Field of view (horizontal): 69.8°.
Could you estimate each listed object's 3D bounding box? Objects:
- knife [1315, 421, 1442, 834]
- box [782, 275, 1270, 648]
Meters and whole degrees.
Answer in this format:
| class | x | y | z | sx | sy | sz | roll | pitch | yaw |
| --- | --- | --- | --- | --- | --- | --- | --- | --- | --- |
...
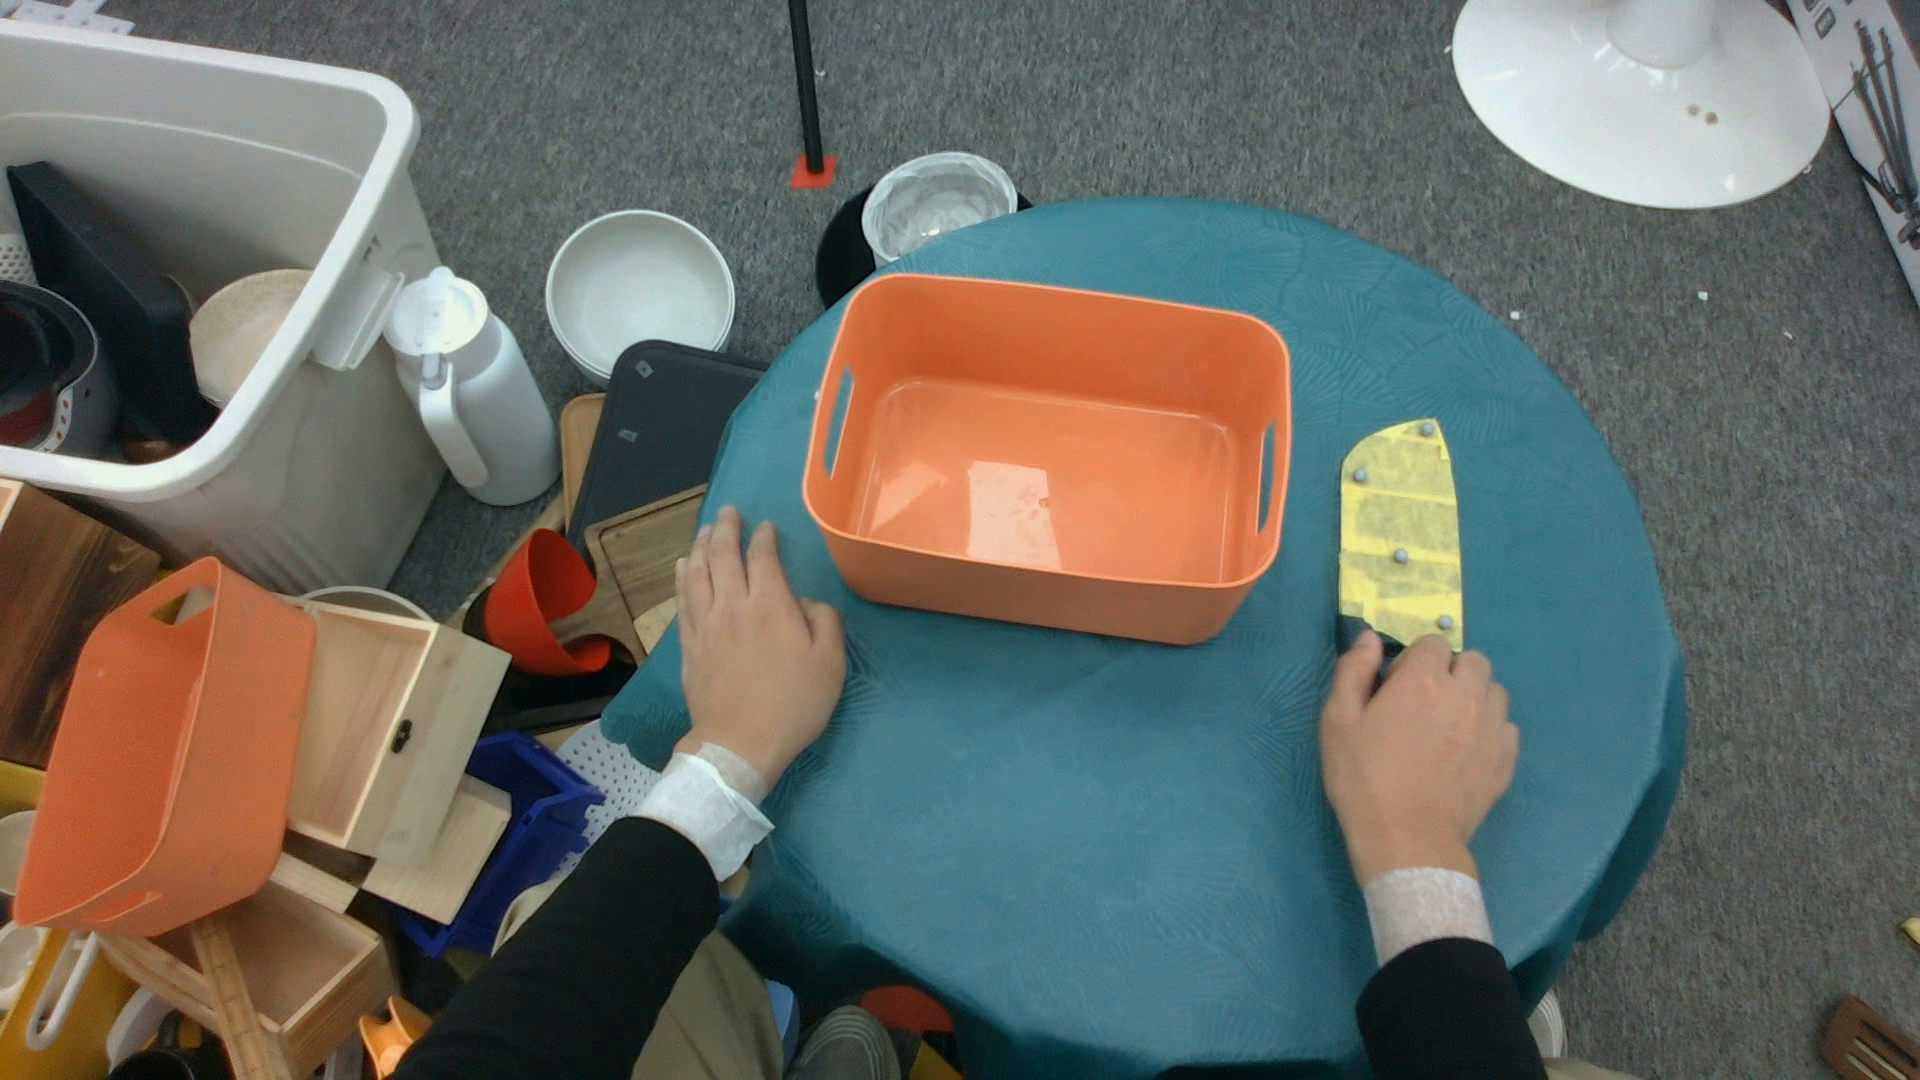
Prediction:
| class | x | y | z | sx | sy | sz | roll | pitch | yaw |
| --- | --- | --- | --- | --- | --- | --- | --- | --- | --- |
| knife | 0.252 | 0.043 | 0.838 | 0.081 | 0.027 | 0.291 | 10 | 60 | 8 |
| box | 0.041 | -0.043 | 0.833 | 0.273 | 0.102 | 0.200 | 8 | 60 | 4 |
